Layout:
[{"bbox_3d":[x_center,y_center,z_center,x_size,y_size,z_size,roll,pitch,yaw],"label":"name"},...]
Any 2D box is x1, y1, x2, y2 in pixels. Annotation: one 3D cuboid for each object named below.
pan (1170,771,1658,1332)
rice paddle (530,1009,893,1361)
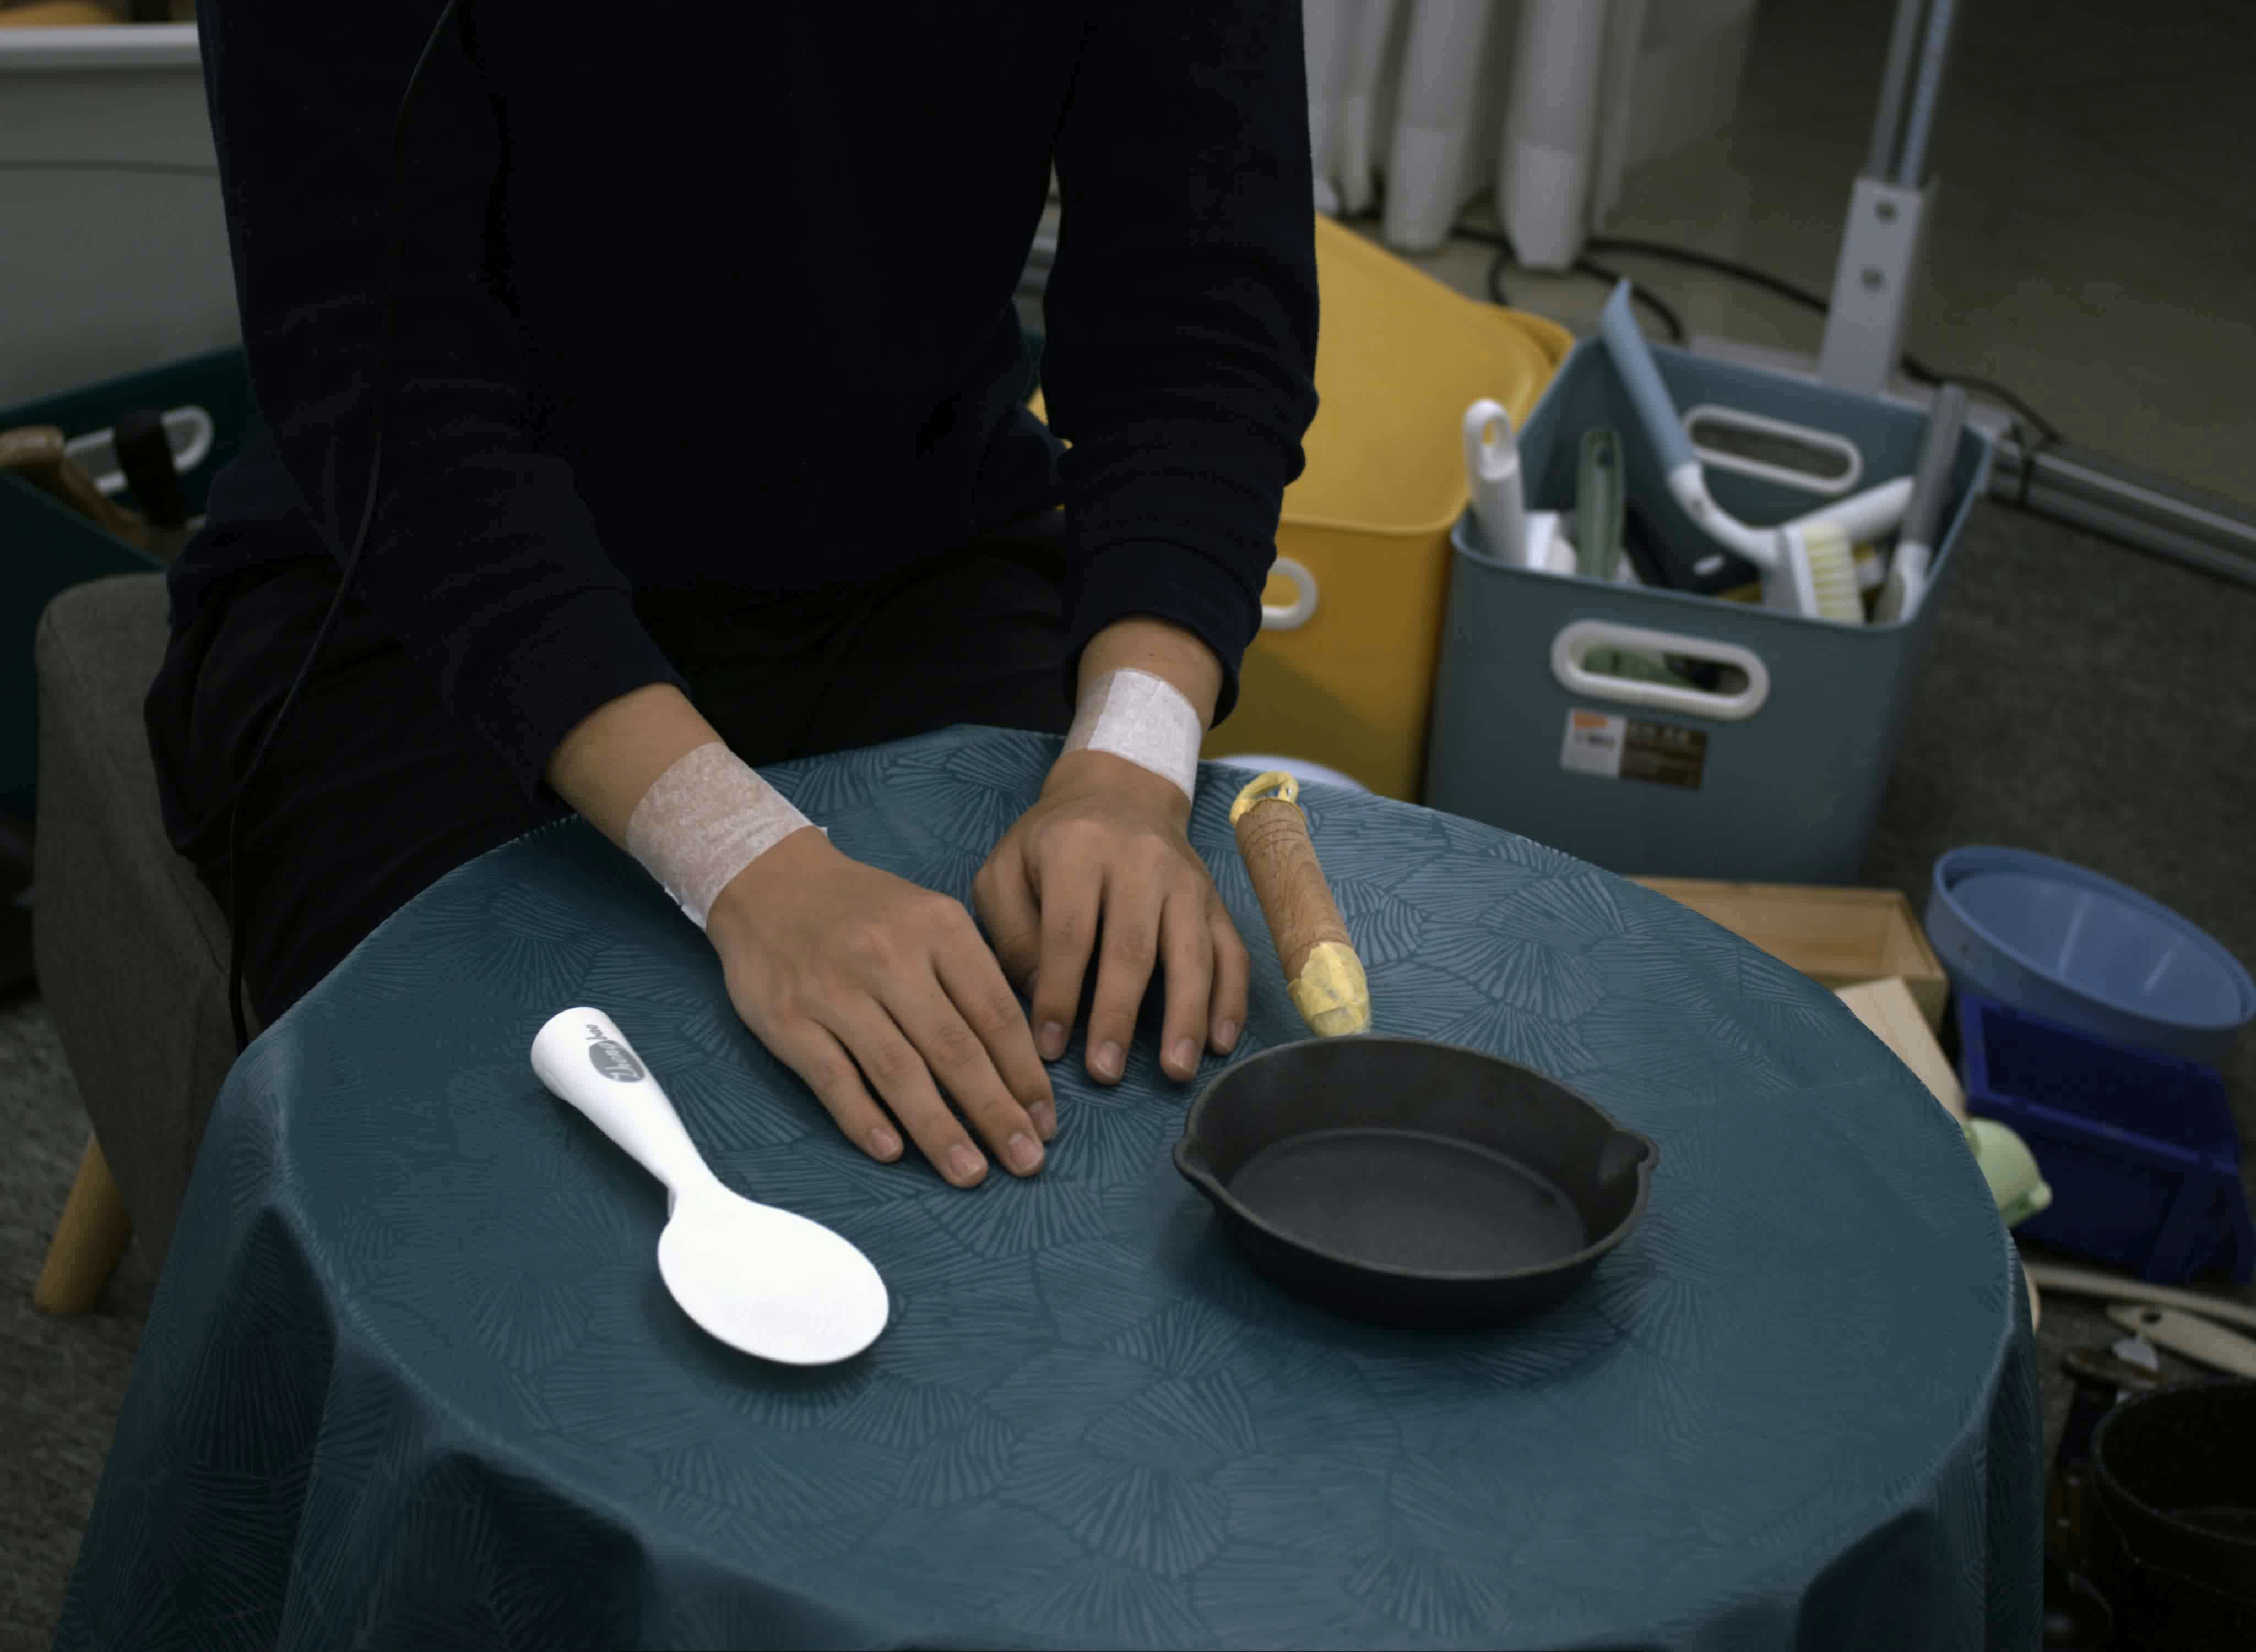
[{"bbox_3d":[0.081,0.076,1.859,0.168,0.049,0.327,0,29,-12],"label":"pan"},{"bbox_3d":[-0.141,0.120,1.747,0.068,0.029,0.207,-11,31,-27],"label":"rice paddle"}]
